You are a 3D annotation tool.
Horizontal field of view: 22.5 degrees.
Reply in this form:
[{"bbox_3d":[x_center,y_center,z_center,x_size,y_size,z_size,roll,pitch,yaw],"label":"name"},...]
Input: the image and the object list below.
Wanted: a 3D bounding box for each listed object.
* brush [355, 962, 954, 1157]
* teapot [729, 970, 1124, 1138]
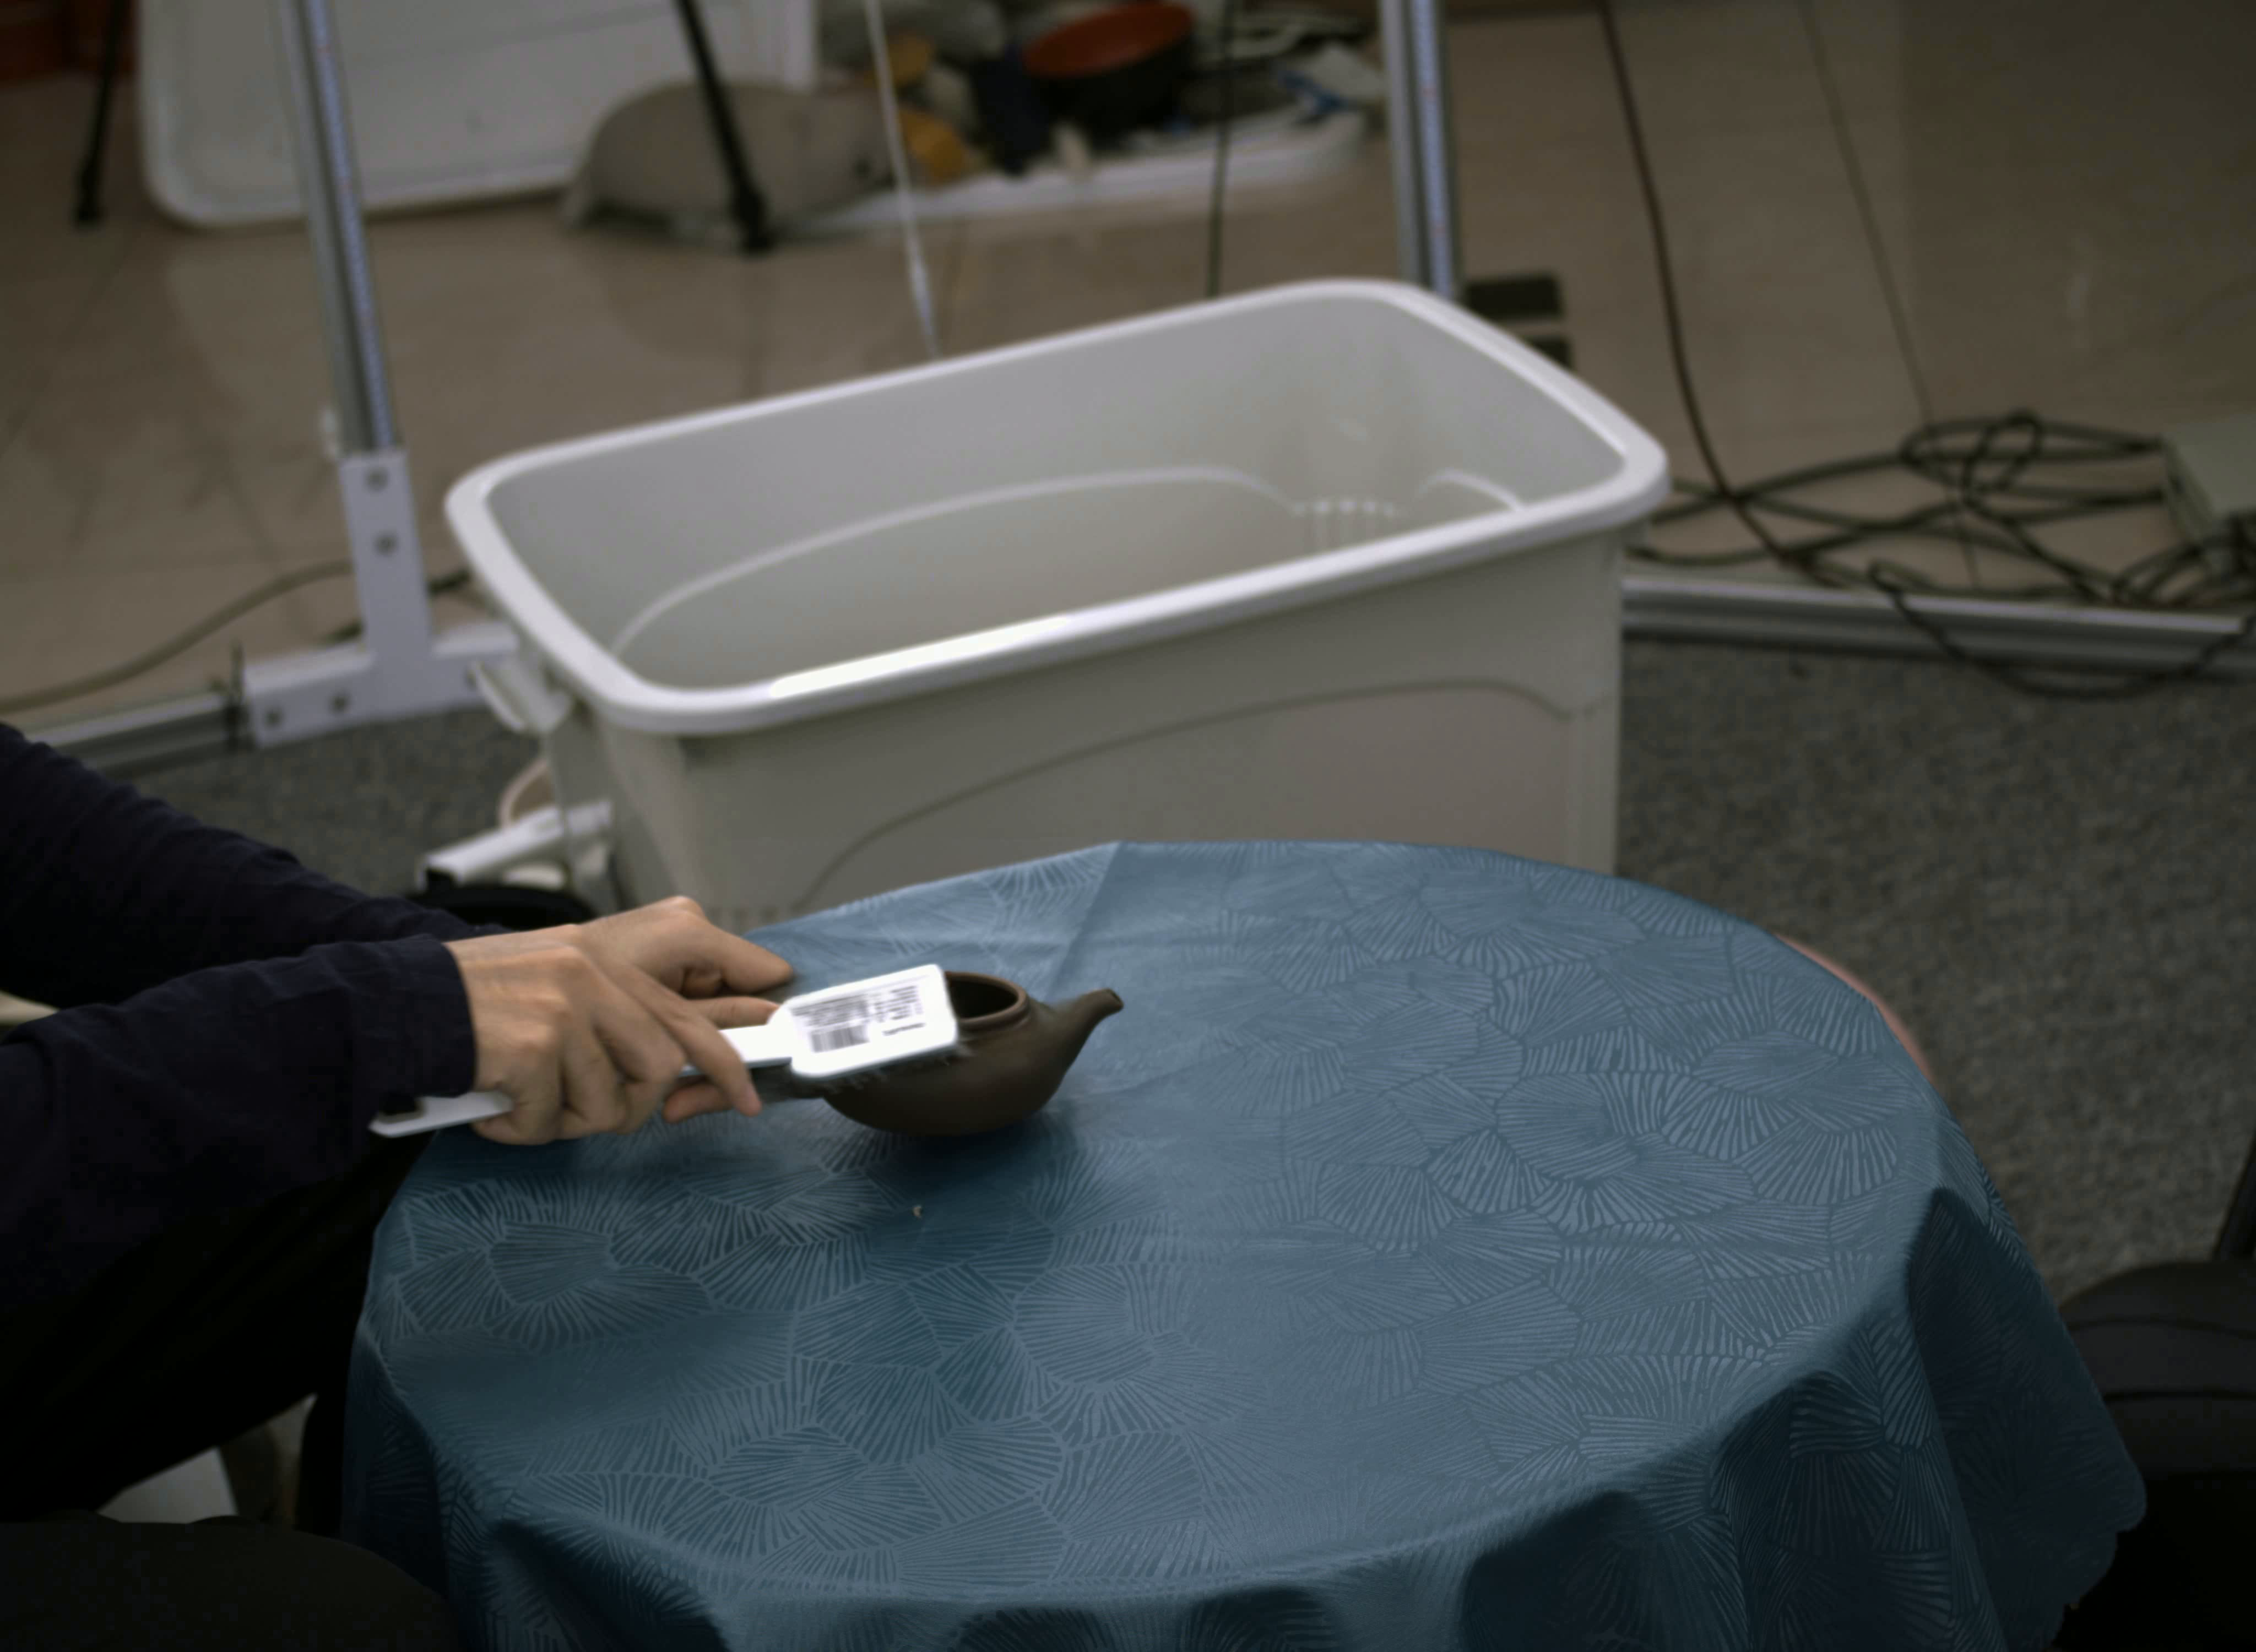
[{"bbox_3d":[-0.175,0.091,2.100,0.243,0.034,0.050,-12,-10,-24],"label":"brush"},{"bbox_3d":[-0.079,0.087,2.203,0.153,0.054,0.101,0,16,-3],"label":"teapot"}]
